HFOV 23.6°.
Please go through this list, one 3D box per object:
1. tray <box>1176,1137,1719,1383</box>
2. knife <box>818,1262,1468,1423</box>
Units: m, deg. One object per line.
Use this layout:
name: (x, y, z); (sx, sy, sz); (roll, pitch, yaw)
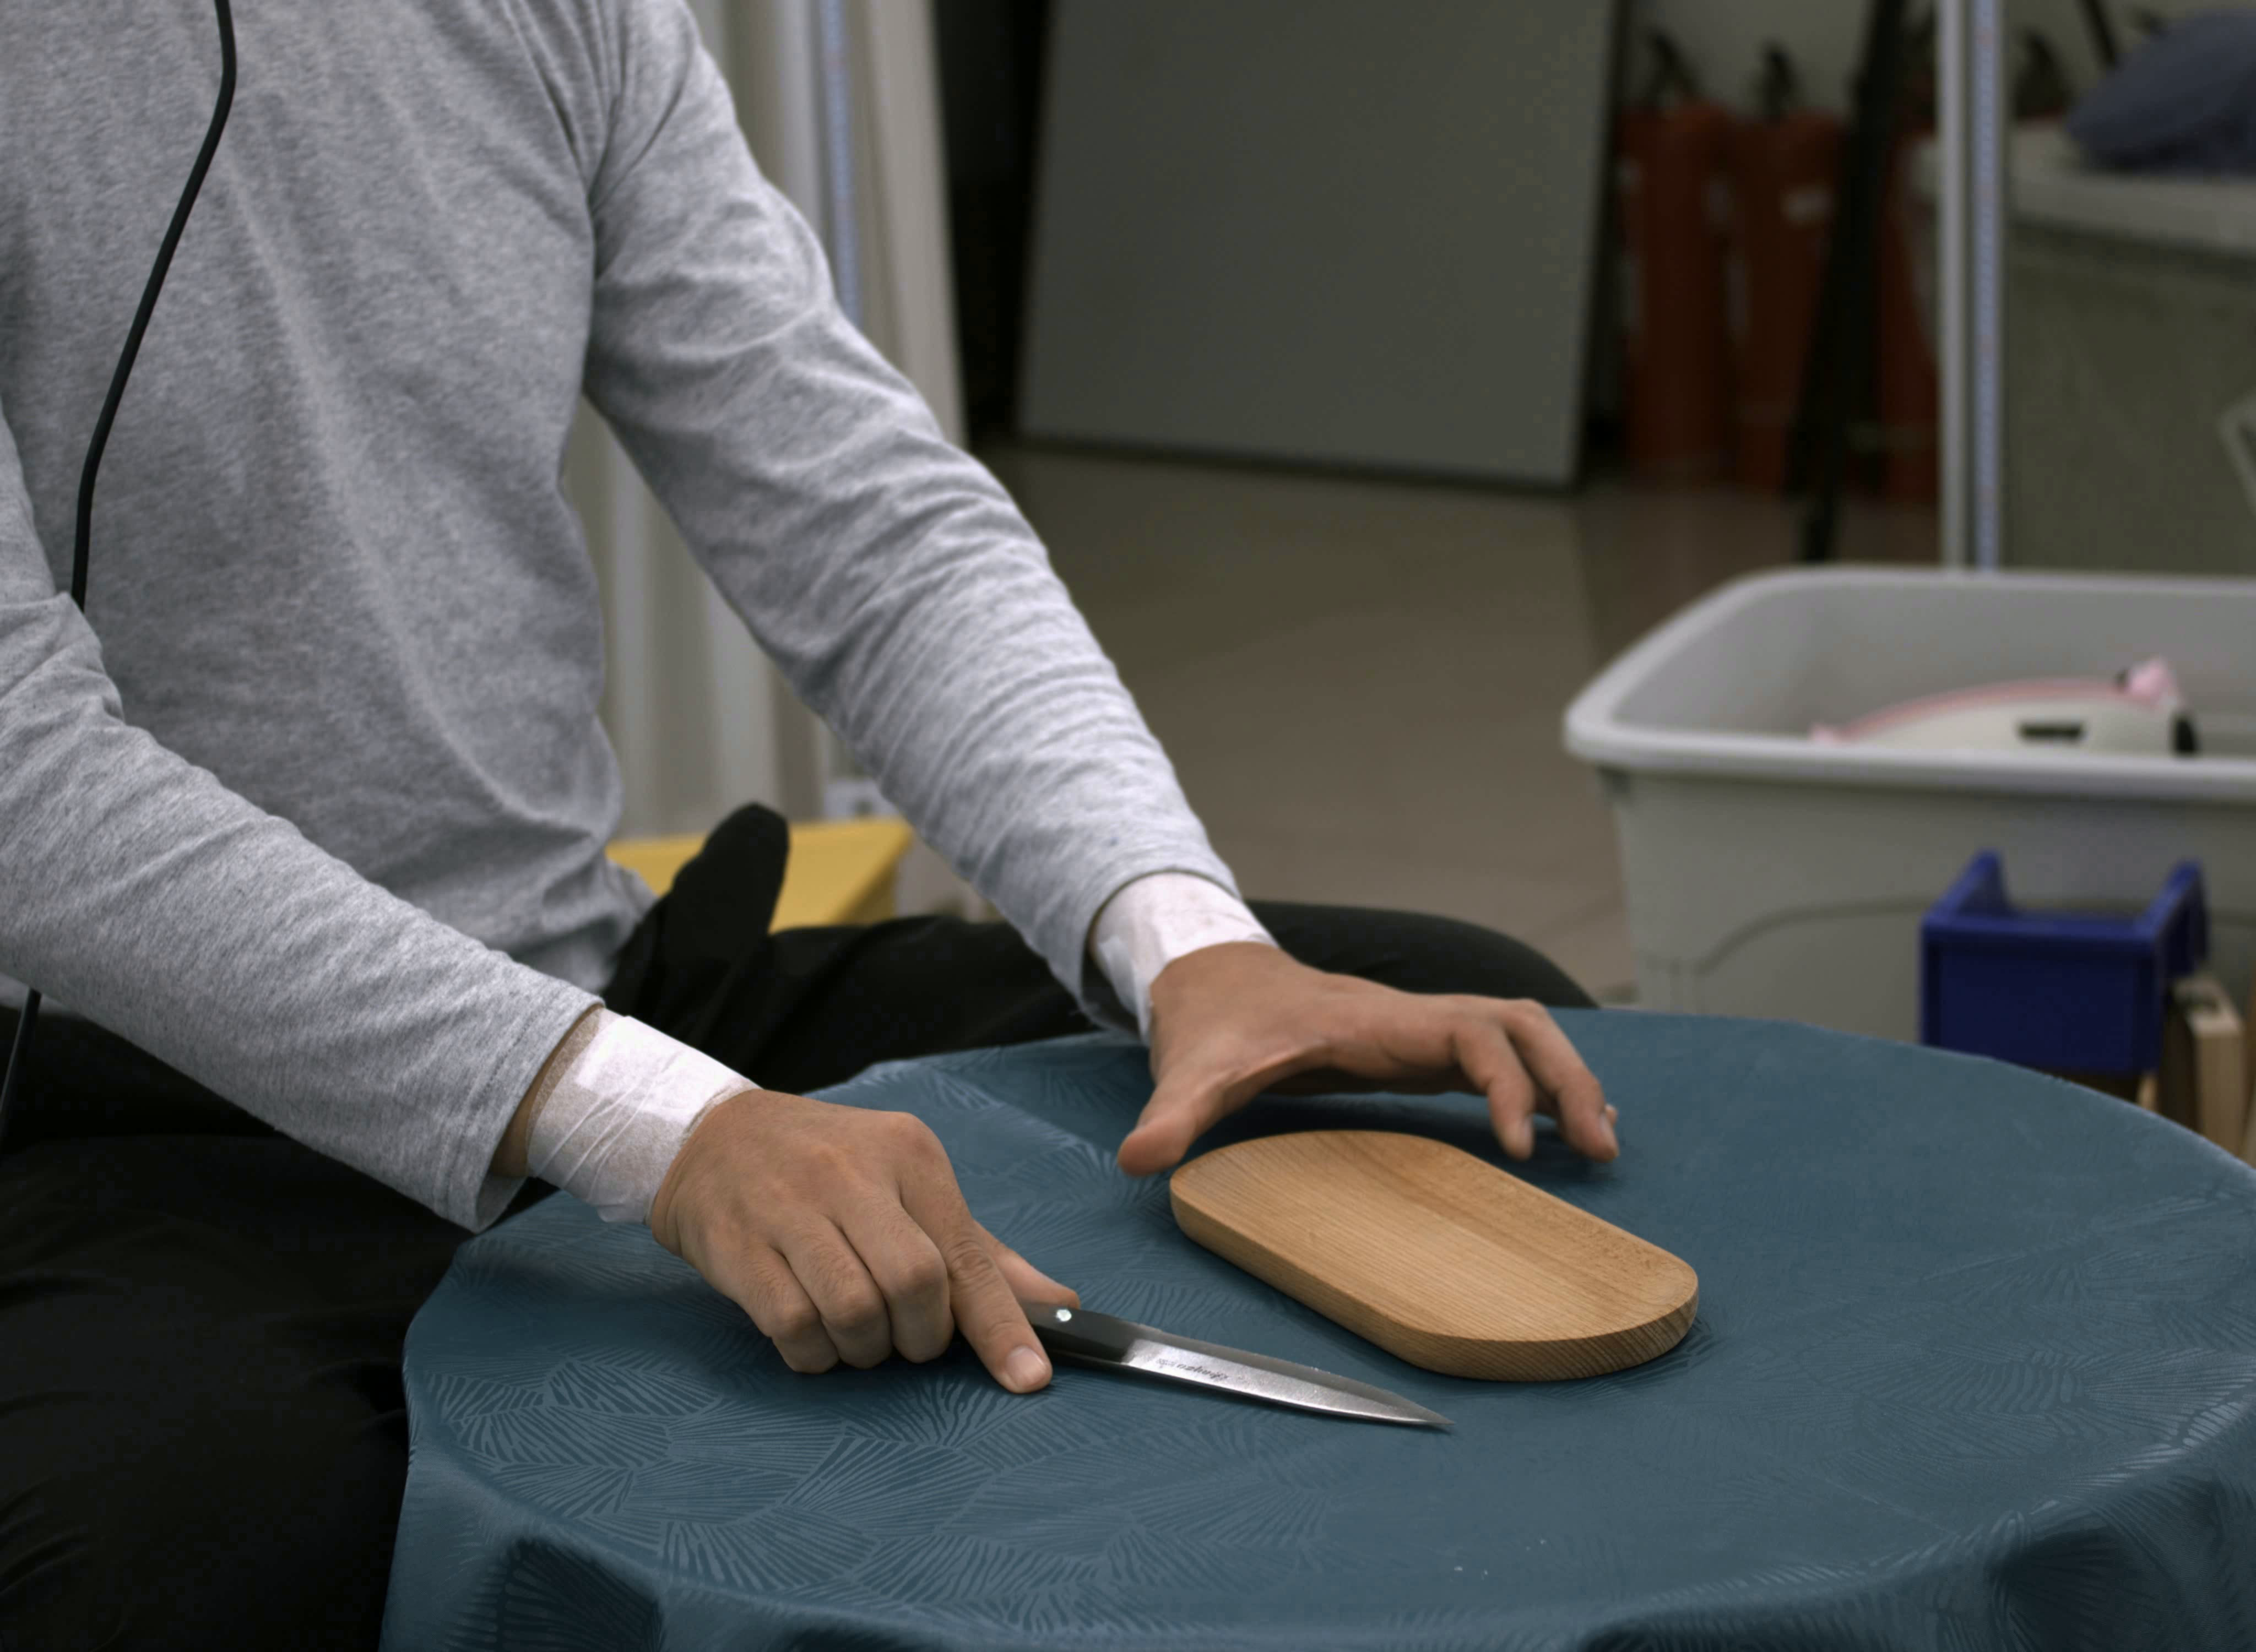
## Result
tray: (0.096, 0.133, 1.667); (0.099, 0.020, 0.233); (-12, 17, -25)
knife: (-0.001, 0.157, 1.604); (0.240, 0.016, 0.024); (8, 25, 36)
